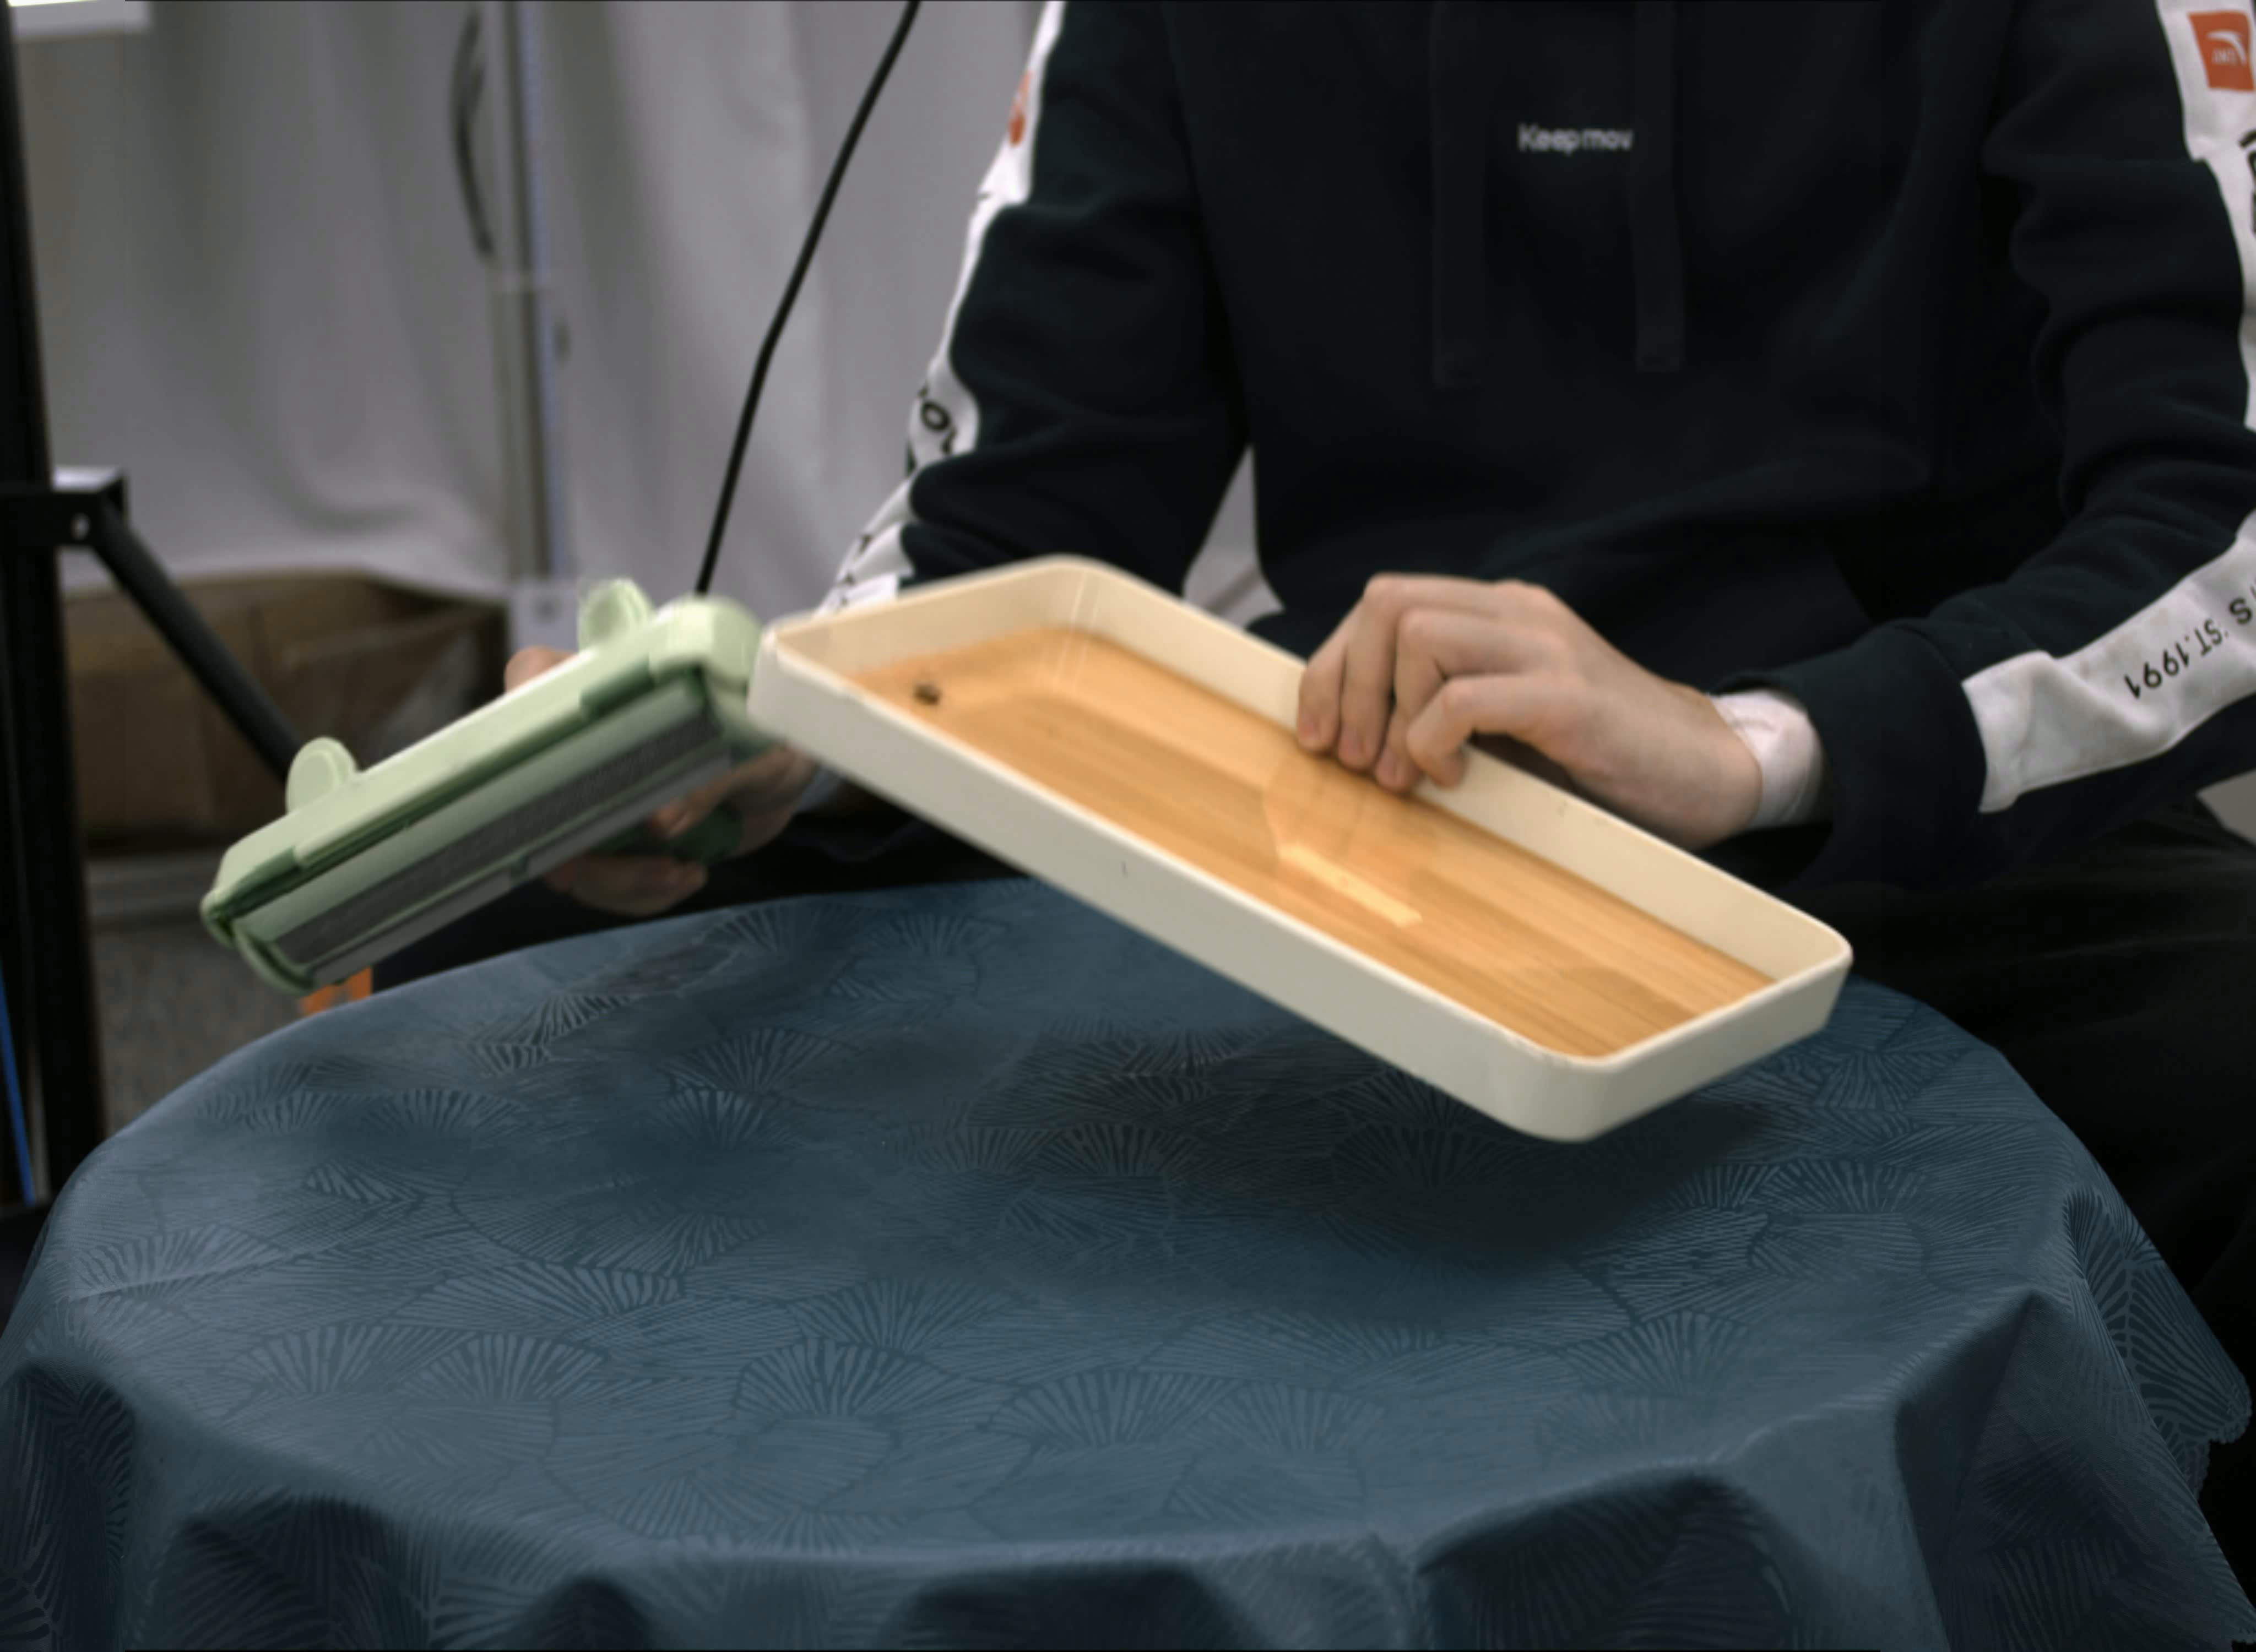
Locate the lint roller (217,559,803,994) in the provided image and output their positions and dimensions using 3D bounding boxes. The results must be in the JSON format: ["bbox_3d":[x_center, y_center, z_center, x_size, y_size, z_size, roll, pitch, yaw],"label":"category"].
[{"bbox_3d":[-0.179,-0.024,1.725,0.200,0.082,0.180,-29,-4,20],"label":"lint roller"}]

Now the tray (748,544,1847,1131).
[{"bbox_3d":[0.051,-0.002,1.579,0.306,0.027,0.187,29,23,27],"label":"tray"}]
